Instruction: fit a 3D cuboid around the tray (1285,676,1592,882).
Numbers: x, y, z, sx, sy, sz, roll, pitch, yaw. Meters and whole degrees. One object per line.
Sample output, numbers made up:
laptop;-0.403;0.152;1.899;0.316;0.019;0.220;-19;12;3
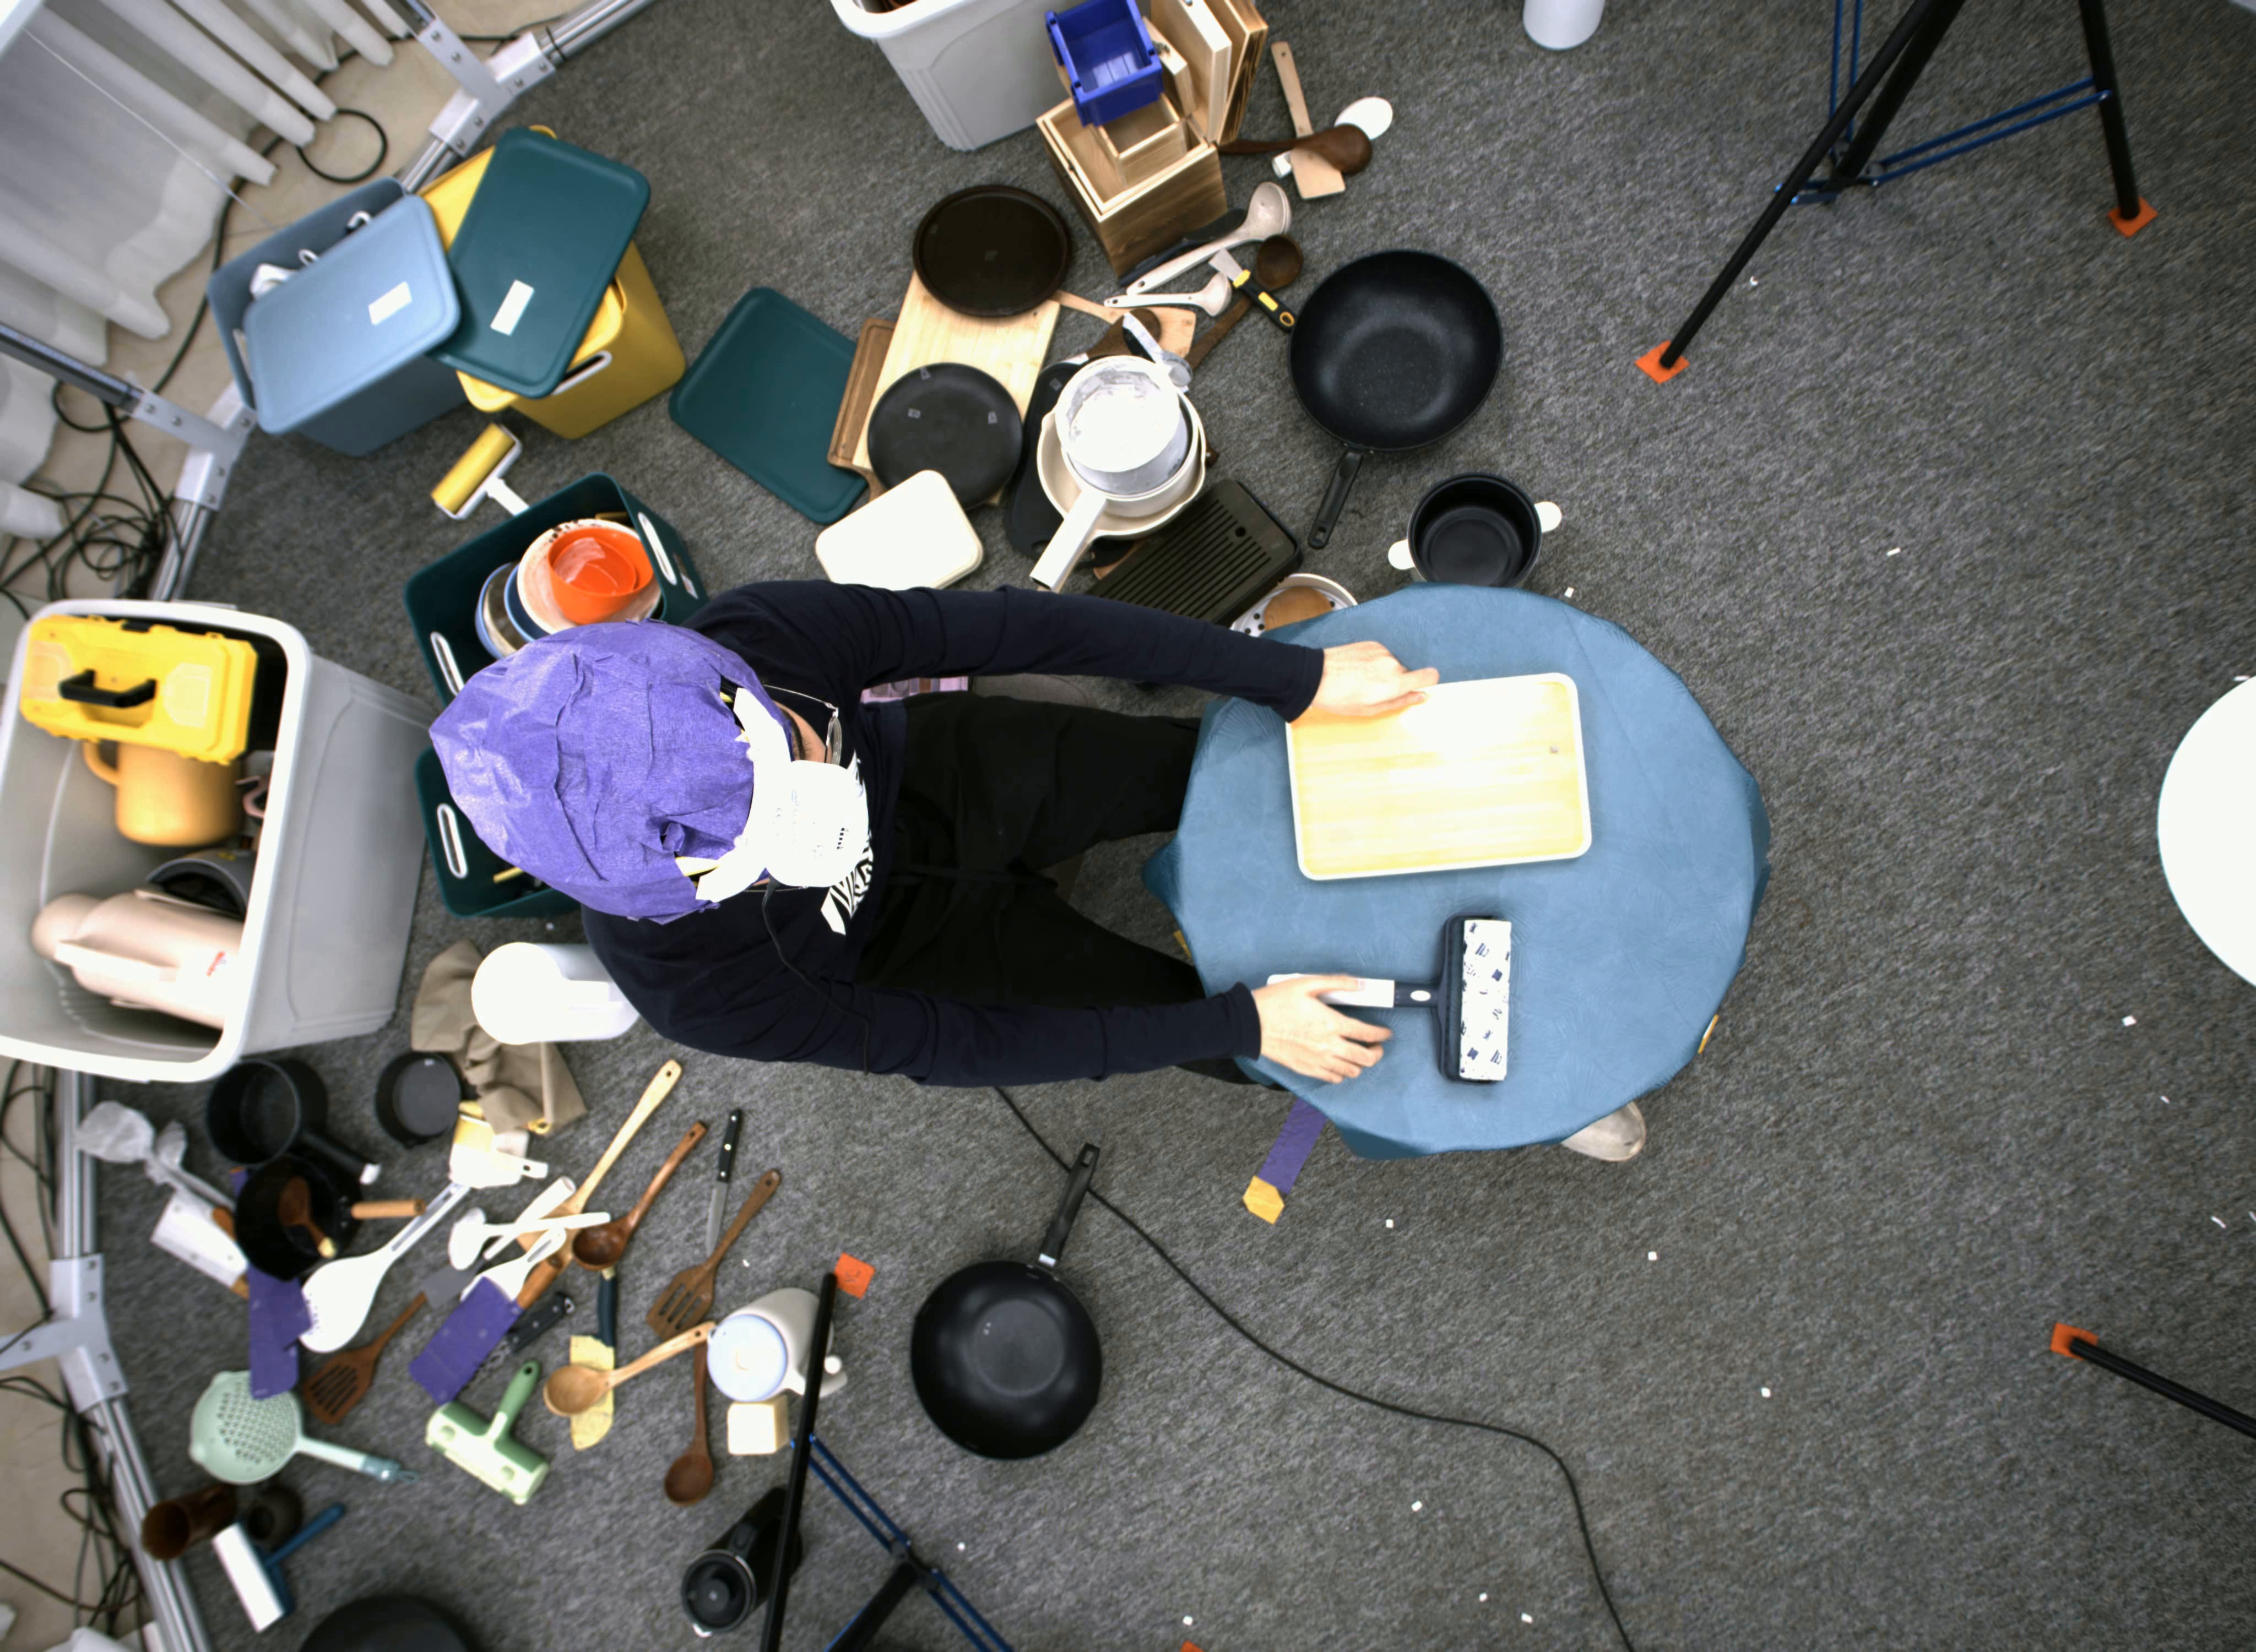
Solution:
tray;0.322;-0.050;1.434;0.301;0.027;0.192;-5;93;10

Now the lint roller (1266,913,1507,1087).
lint roller;0.265;0.174;1.434;0.248;0.050;0.175;1;87;13
